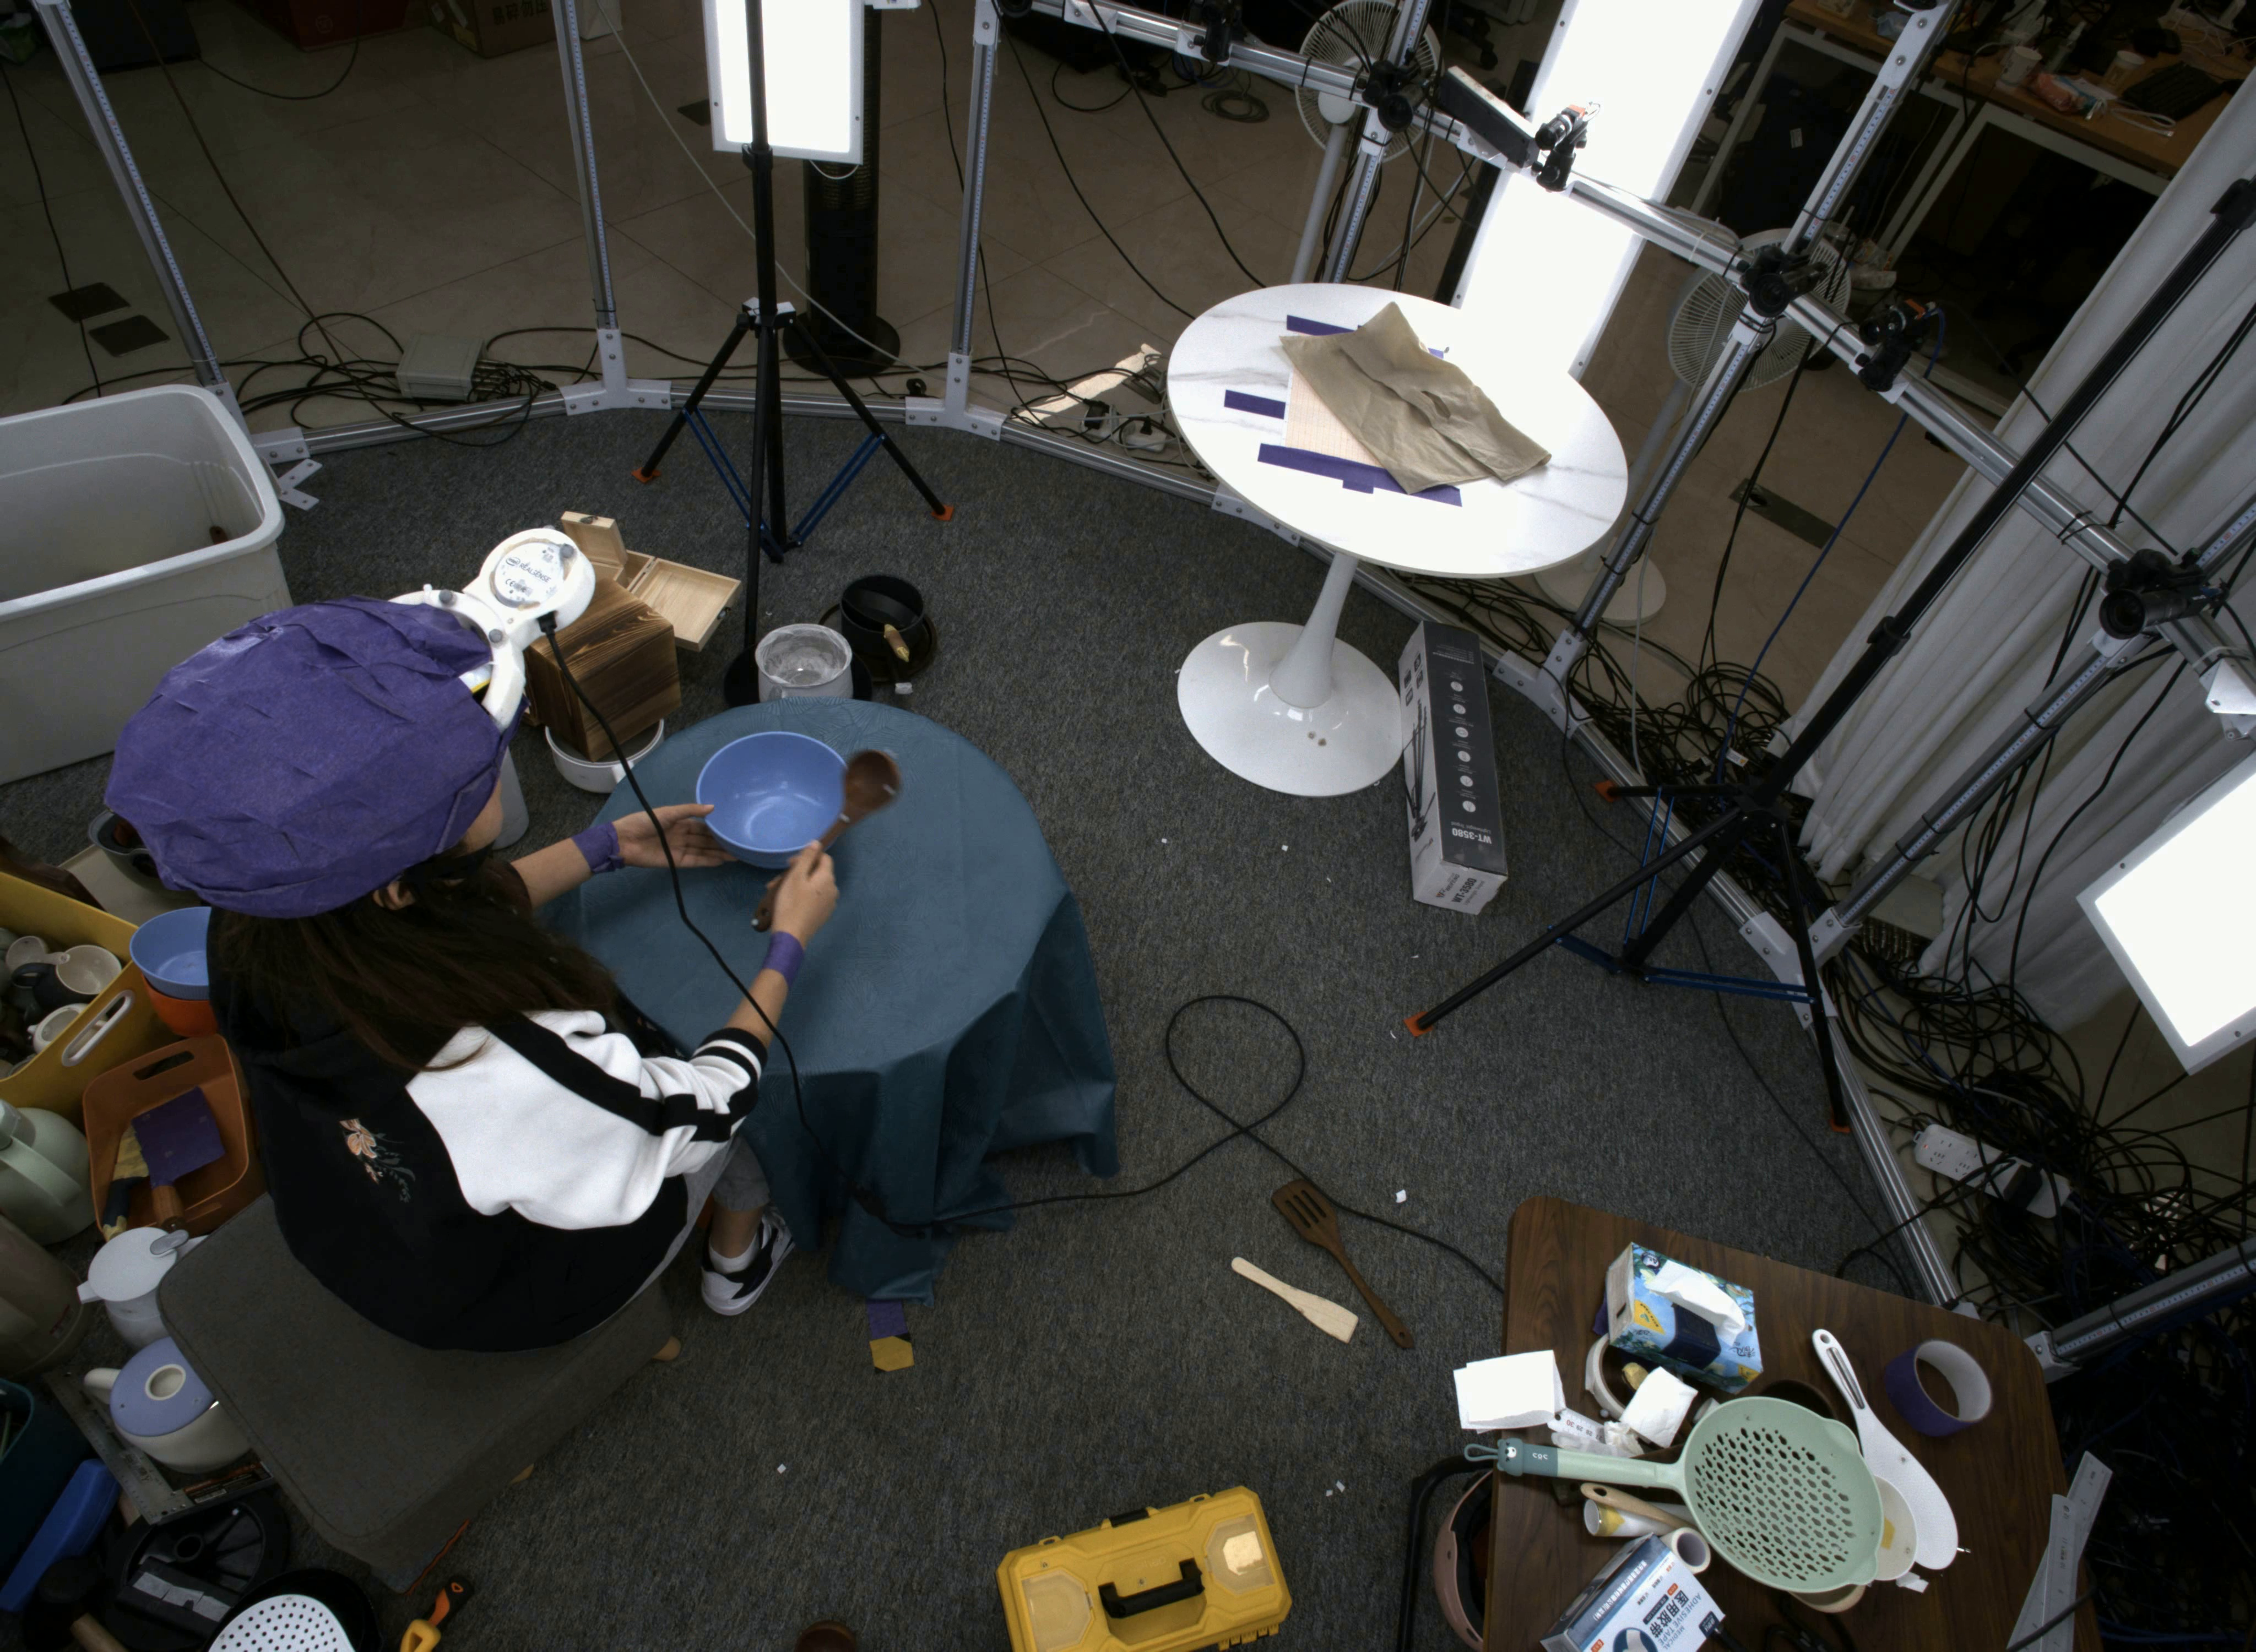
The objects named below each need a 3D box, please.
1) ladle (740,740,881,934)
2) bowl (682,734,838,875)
[{"bbox_3d":[-0.378,0.008,1.510,0.074,0.067,0.259,21,59,22],"label":"ladle"},{"bbox_3d":[-0.470,-0.014,1.657,0.197,0.097,0.193,12,51,-13],"label":"bowl"}]
